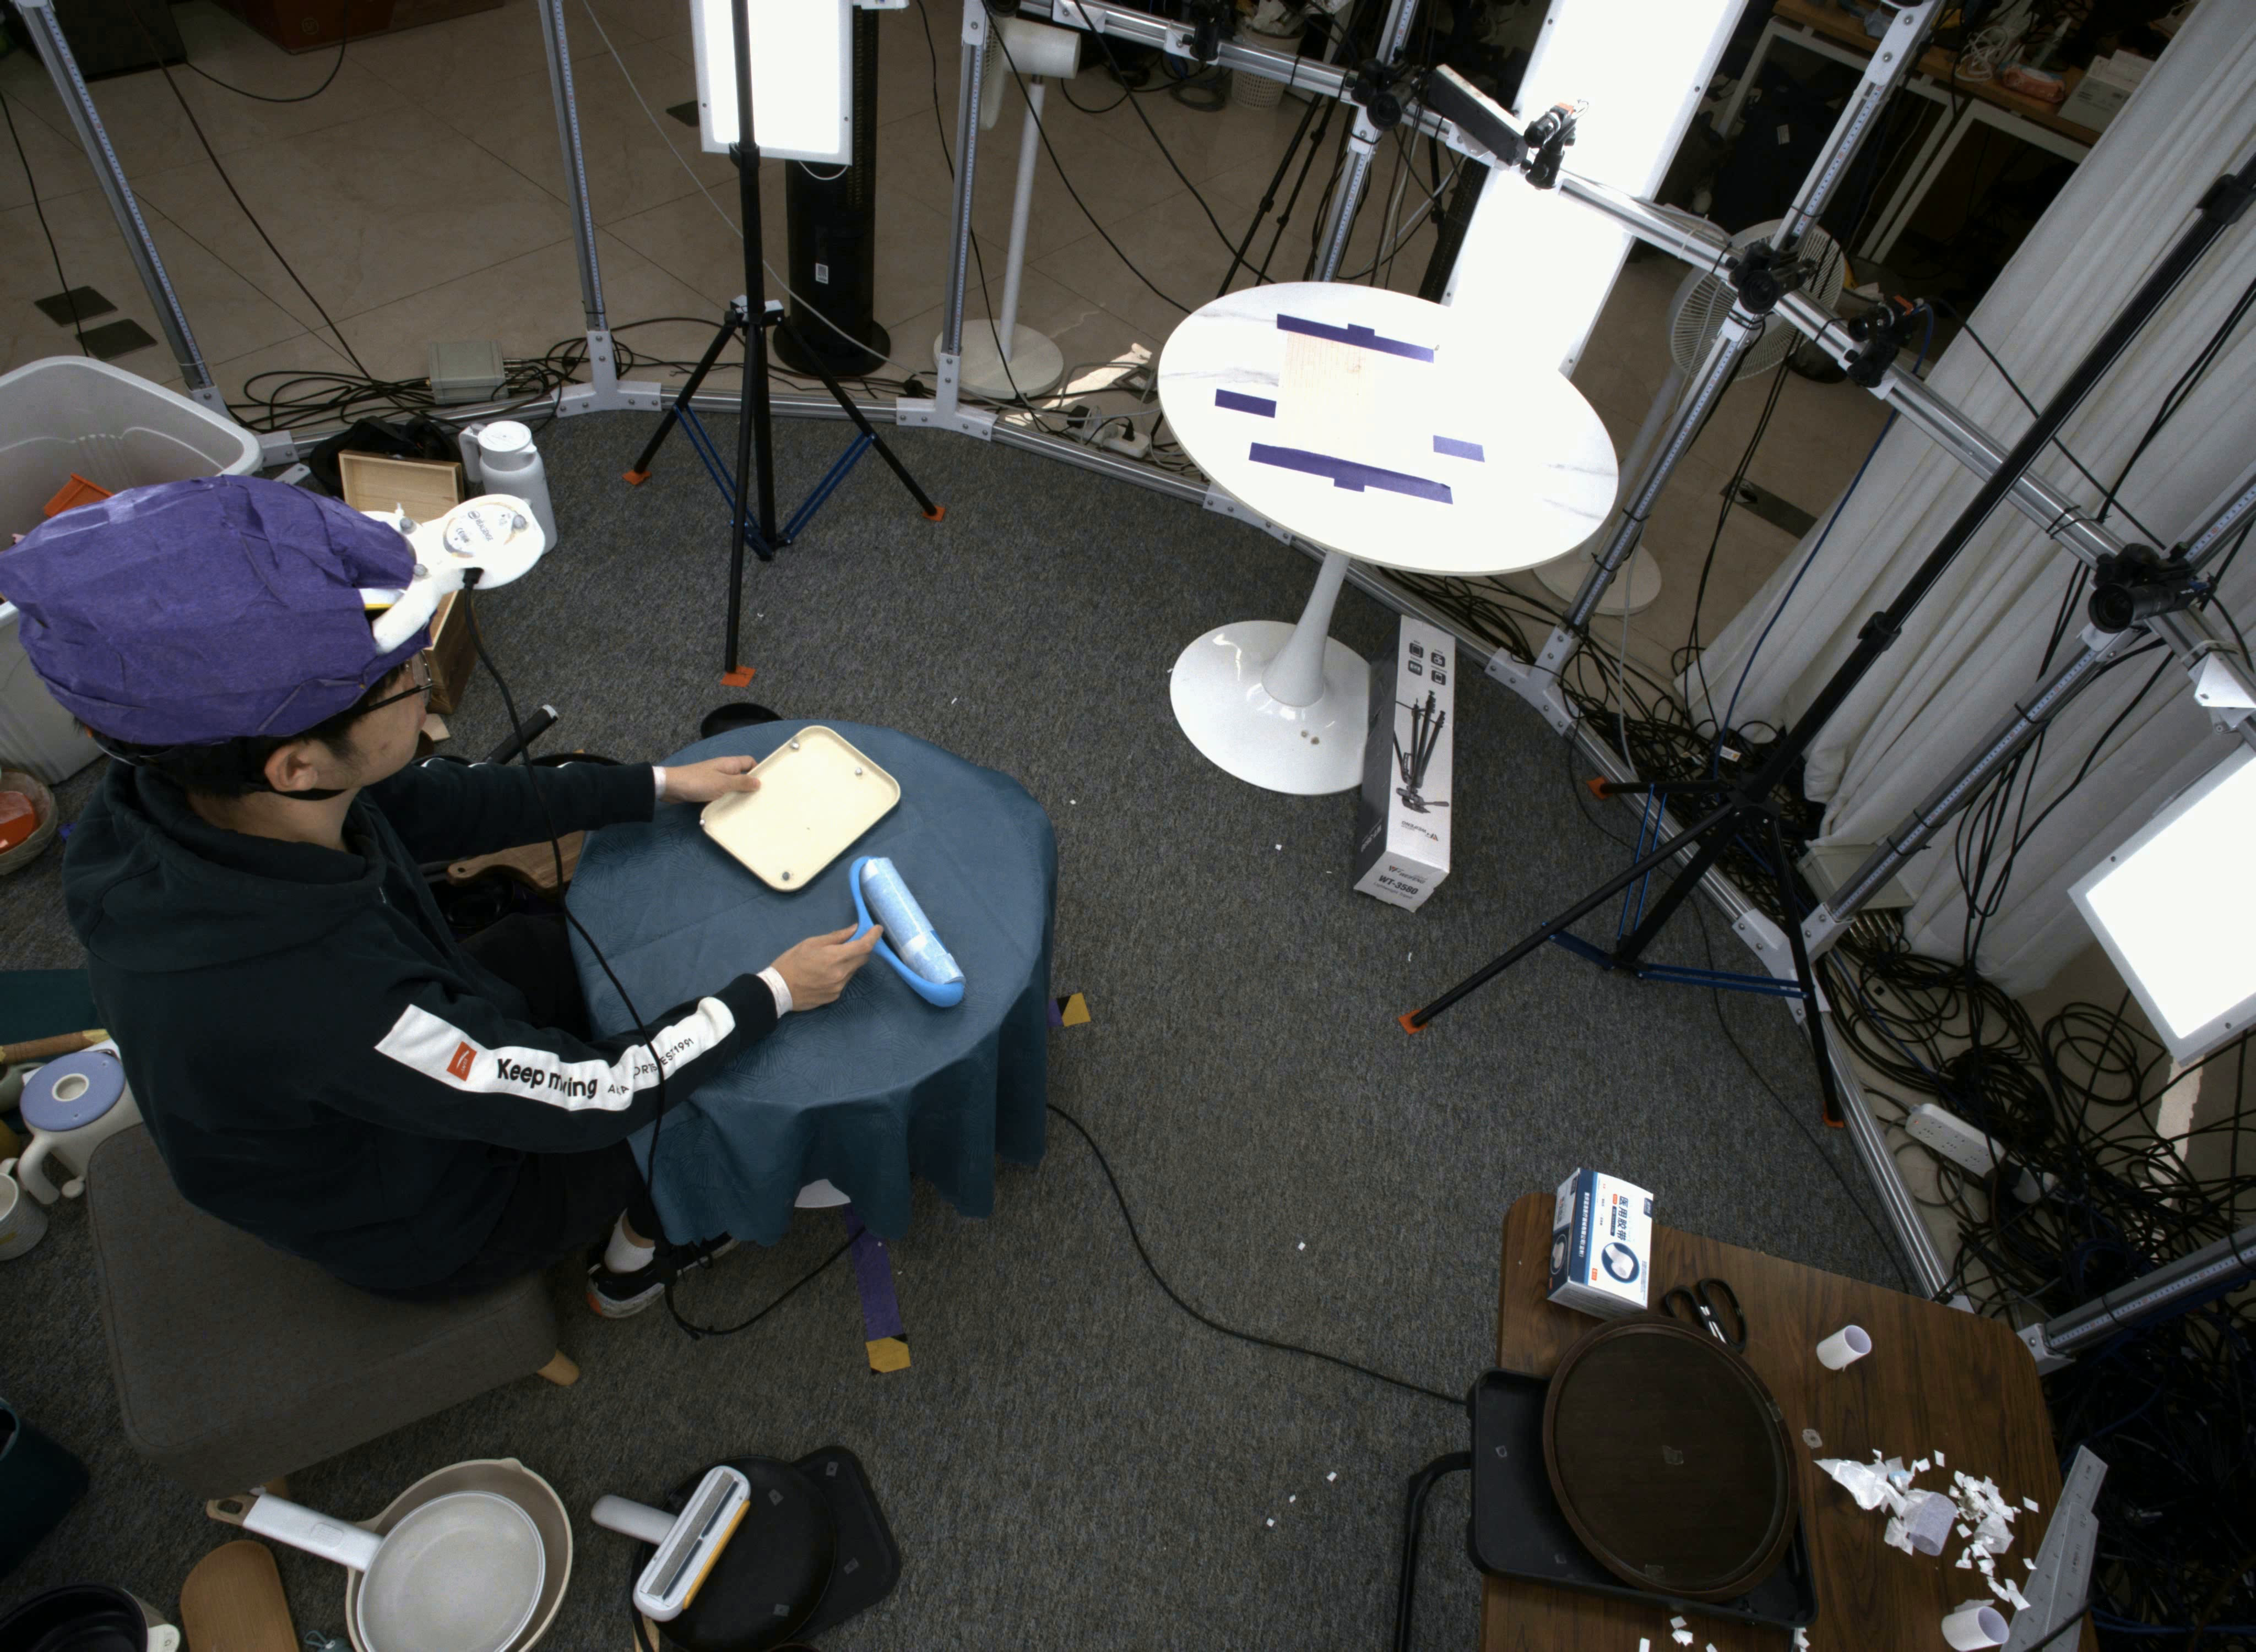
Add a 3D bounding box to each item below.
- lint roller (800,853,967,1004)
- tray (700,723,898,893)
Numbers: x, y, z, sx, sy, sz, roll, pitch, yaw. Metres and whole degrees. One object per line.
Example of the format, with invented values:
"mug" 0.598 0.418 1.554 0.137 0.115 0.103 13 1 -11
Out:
"lint roller" -0.320 0.148 1.600 0.181 0.068 0.225 -28 73 -30
"tray" -0.435 -0.026 1.724 0.170 0.017 0.239 39 54 4
